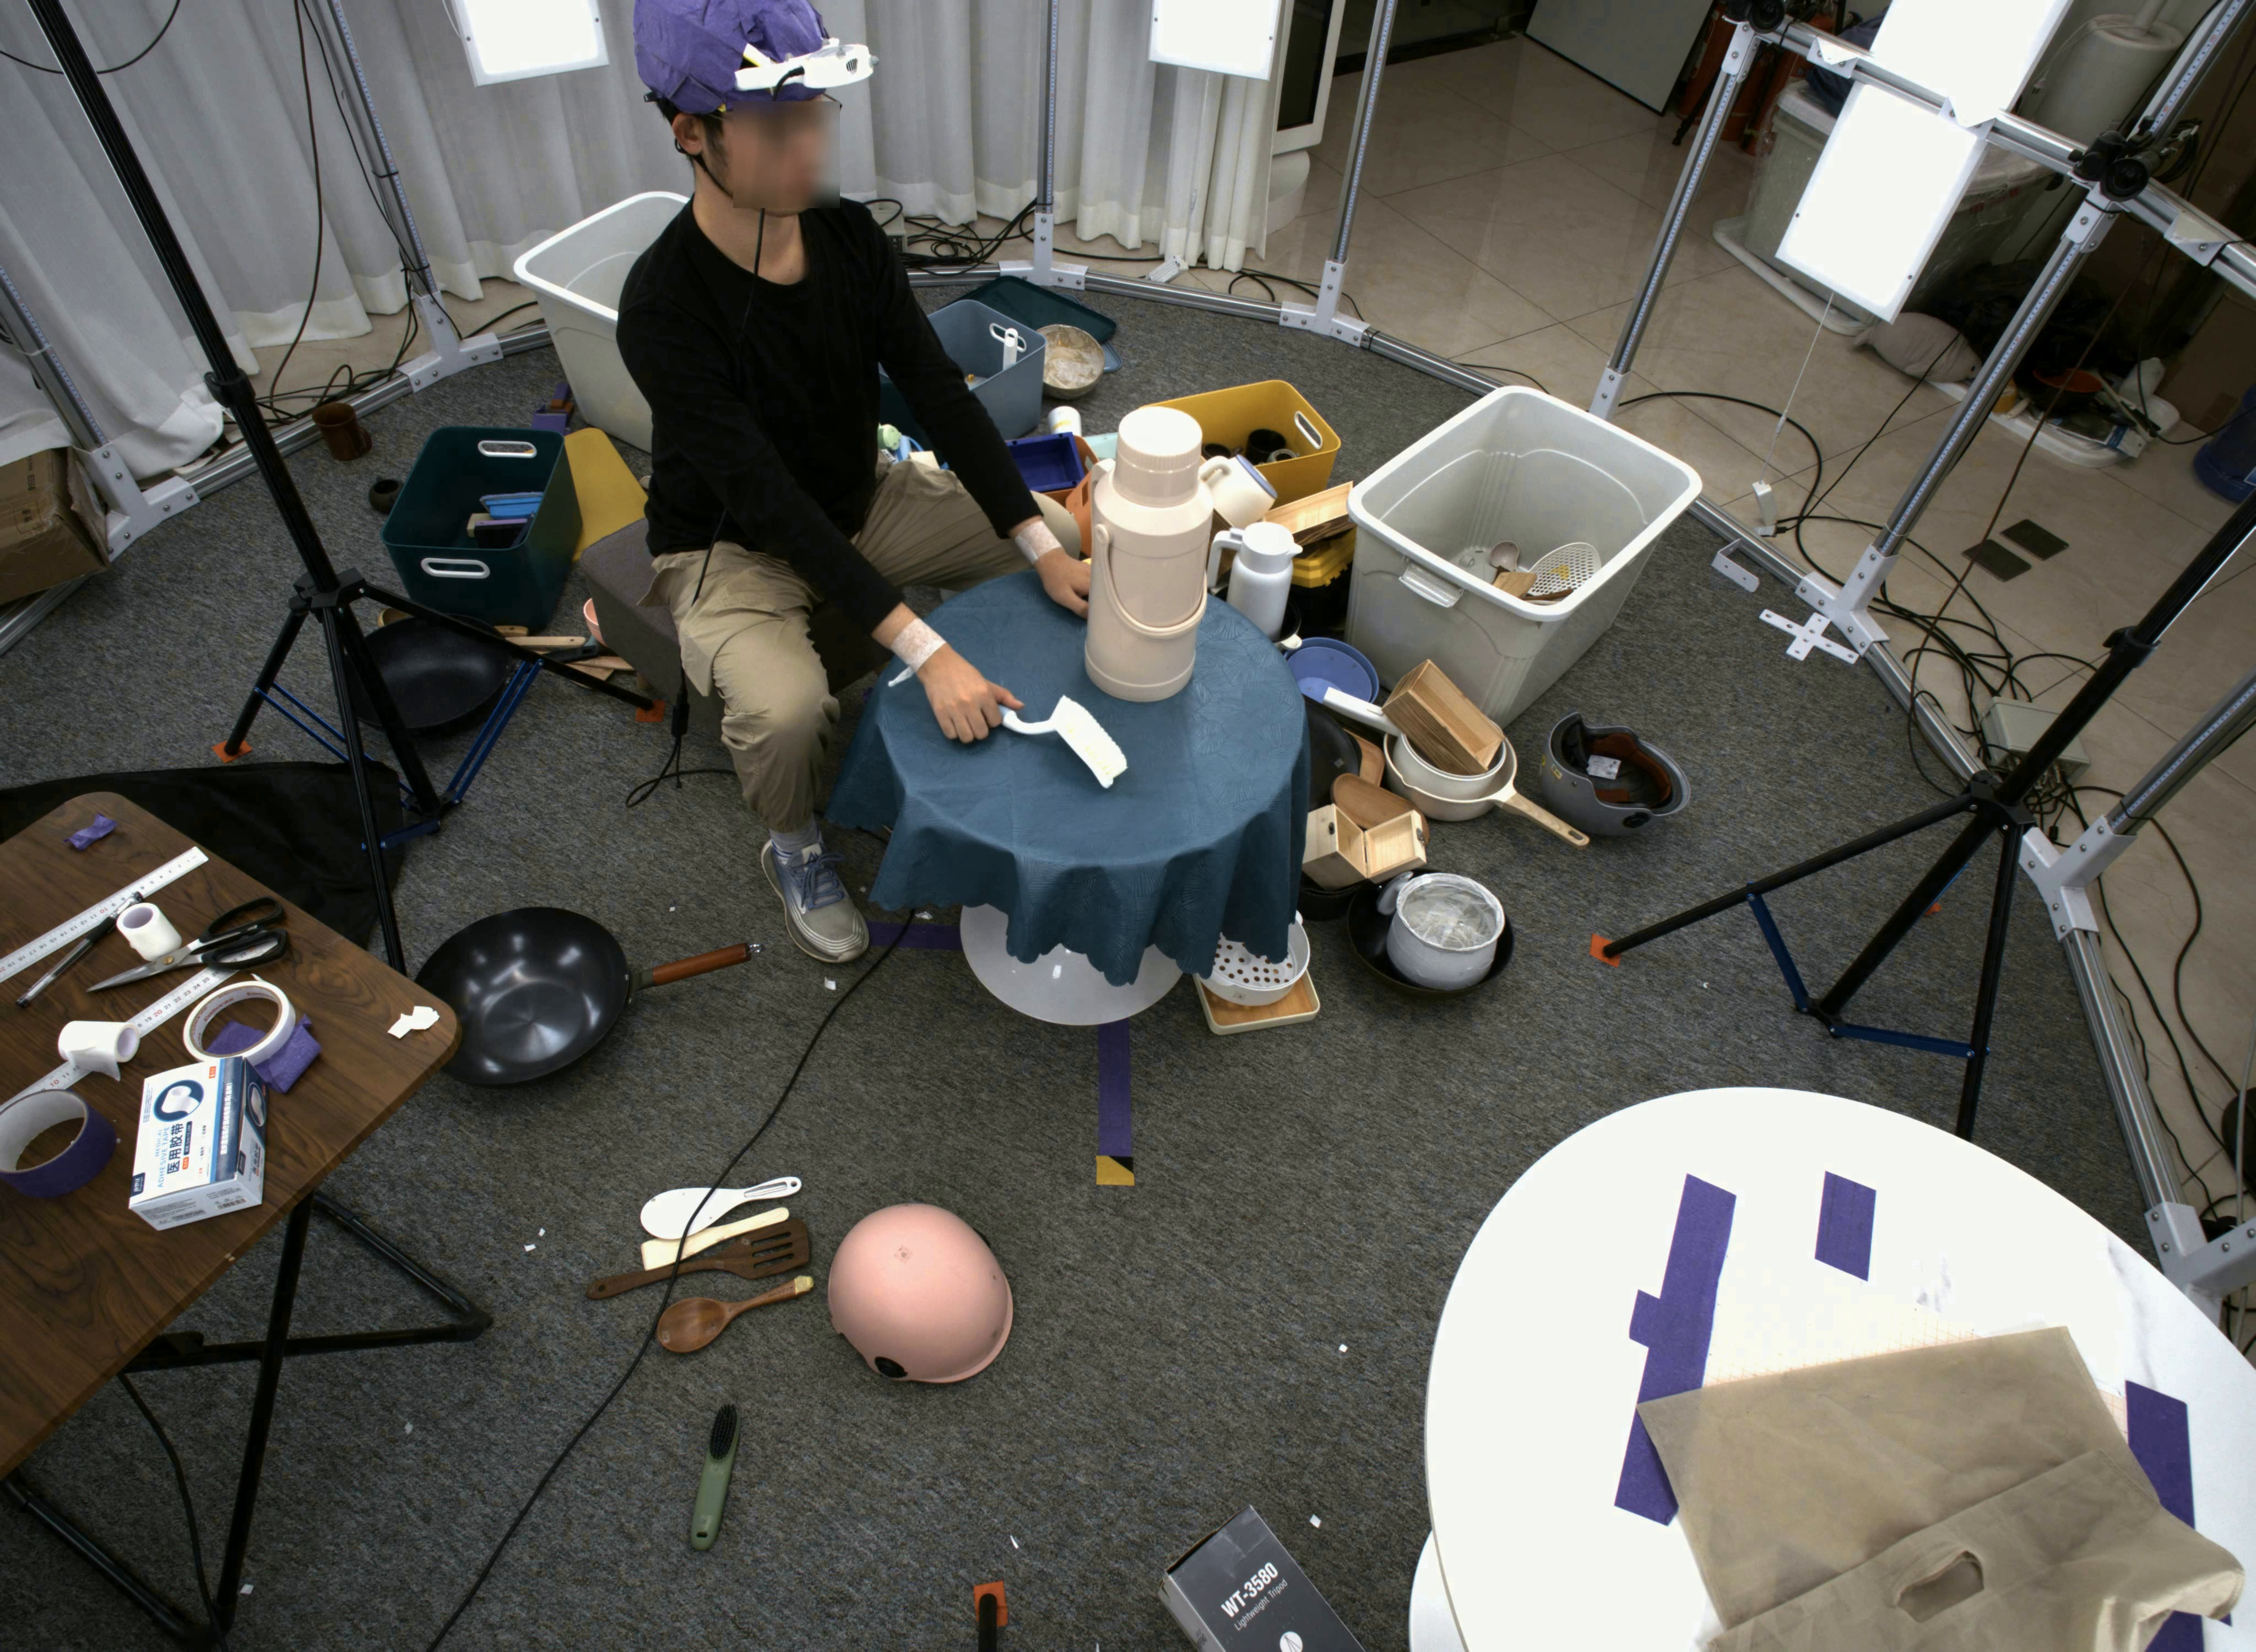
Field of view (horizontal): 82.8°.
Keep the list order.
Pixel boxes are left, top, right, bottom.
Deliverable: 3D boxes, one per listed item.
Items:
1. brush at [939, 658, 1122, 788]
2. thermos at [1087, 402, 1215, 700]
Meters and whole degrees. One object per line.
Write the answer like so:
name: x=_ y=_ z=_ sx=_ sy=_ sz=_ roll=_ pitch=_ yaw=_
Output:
brush: x=-0.131 y=-0.169 z=1.758 sx=0.330 sy=0.081 sz=0.085 roll=37 pitch=58 yaw=24
thermos: x=0.022 y=-0.373 z=1.740 sx=0.176 sy=0.396 sz=0.210 roll=-31 pitch=58 yaw=-25
